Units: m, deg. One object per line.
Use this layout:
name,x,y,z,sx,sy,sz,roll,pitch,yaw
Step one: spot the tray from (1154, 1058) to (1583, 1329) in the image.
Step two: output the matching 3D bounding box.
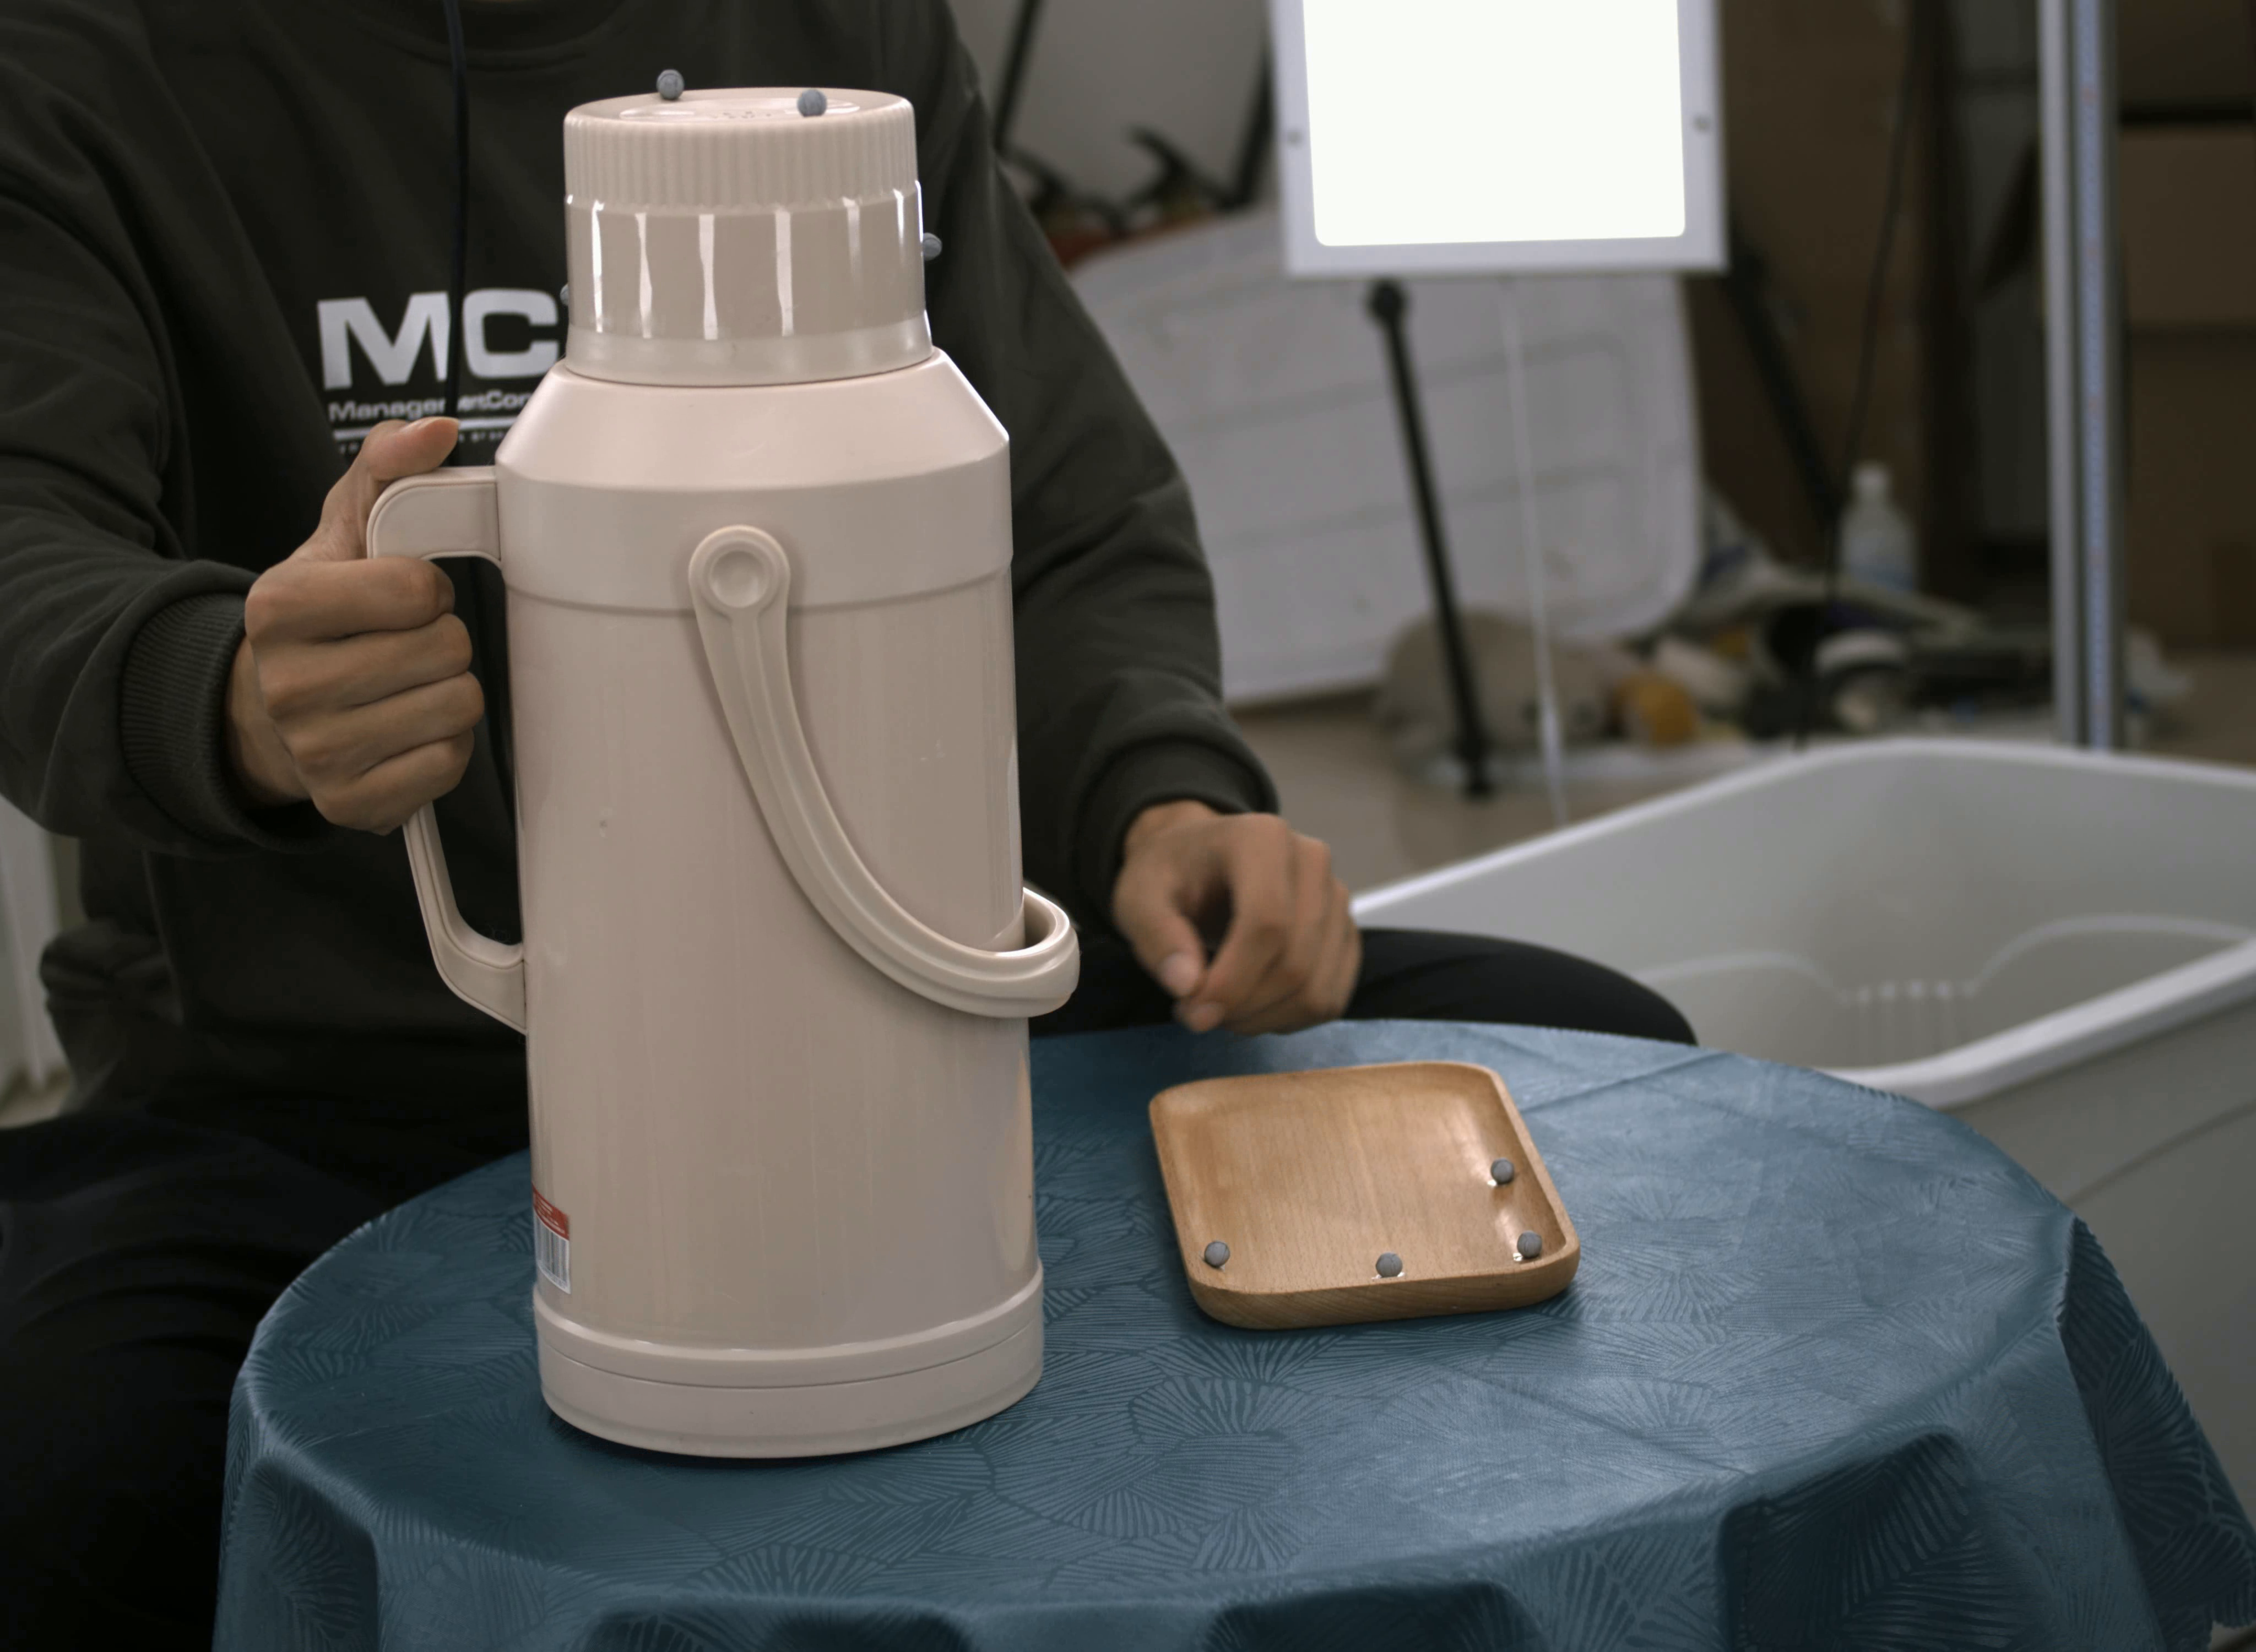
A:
tray,0.078,0.122,1.858,0.130,0.023,0.250,-3,13,-1

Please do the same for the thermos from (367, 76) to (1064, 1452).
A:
thermos,-0.125,-0.021,1.692,0.206,0.408,0.175,-2,15,1
